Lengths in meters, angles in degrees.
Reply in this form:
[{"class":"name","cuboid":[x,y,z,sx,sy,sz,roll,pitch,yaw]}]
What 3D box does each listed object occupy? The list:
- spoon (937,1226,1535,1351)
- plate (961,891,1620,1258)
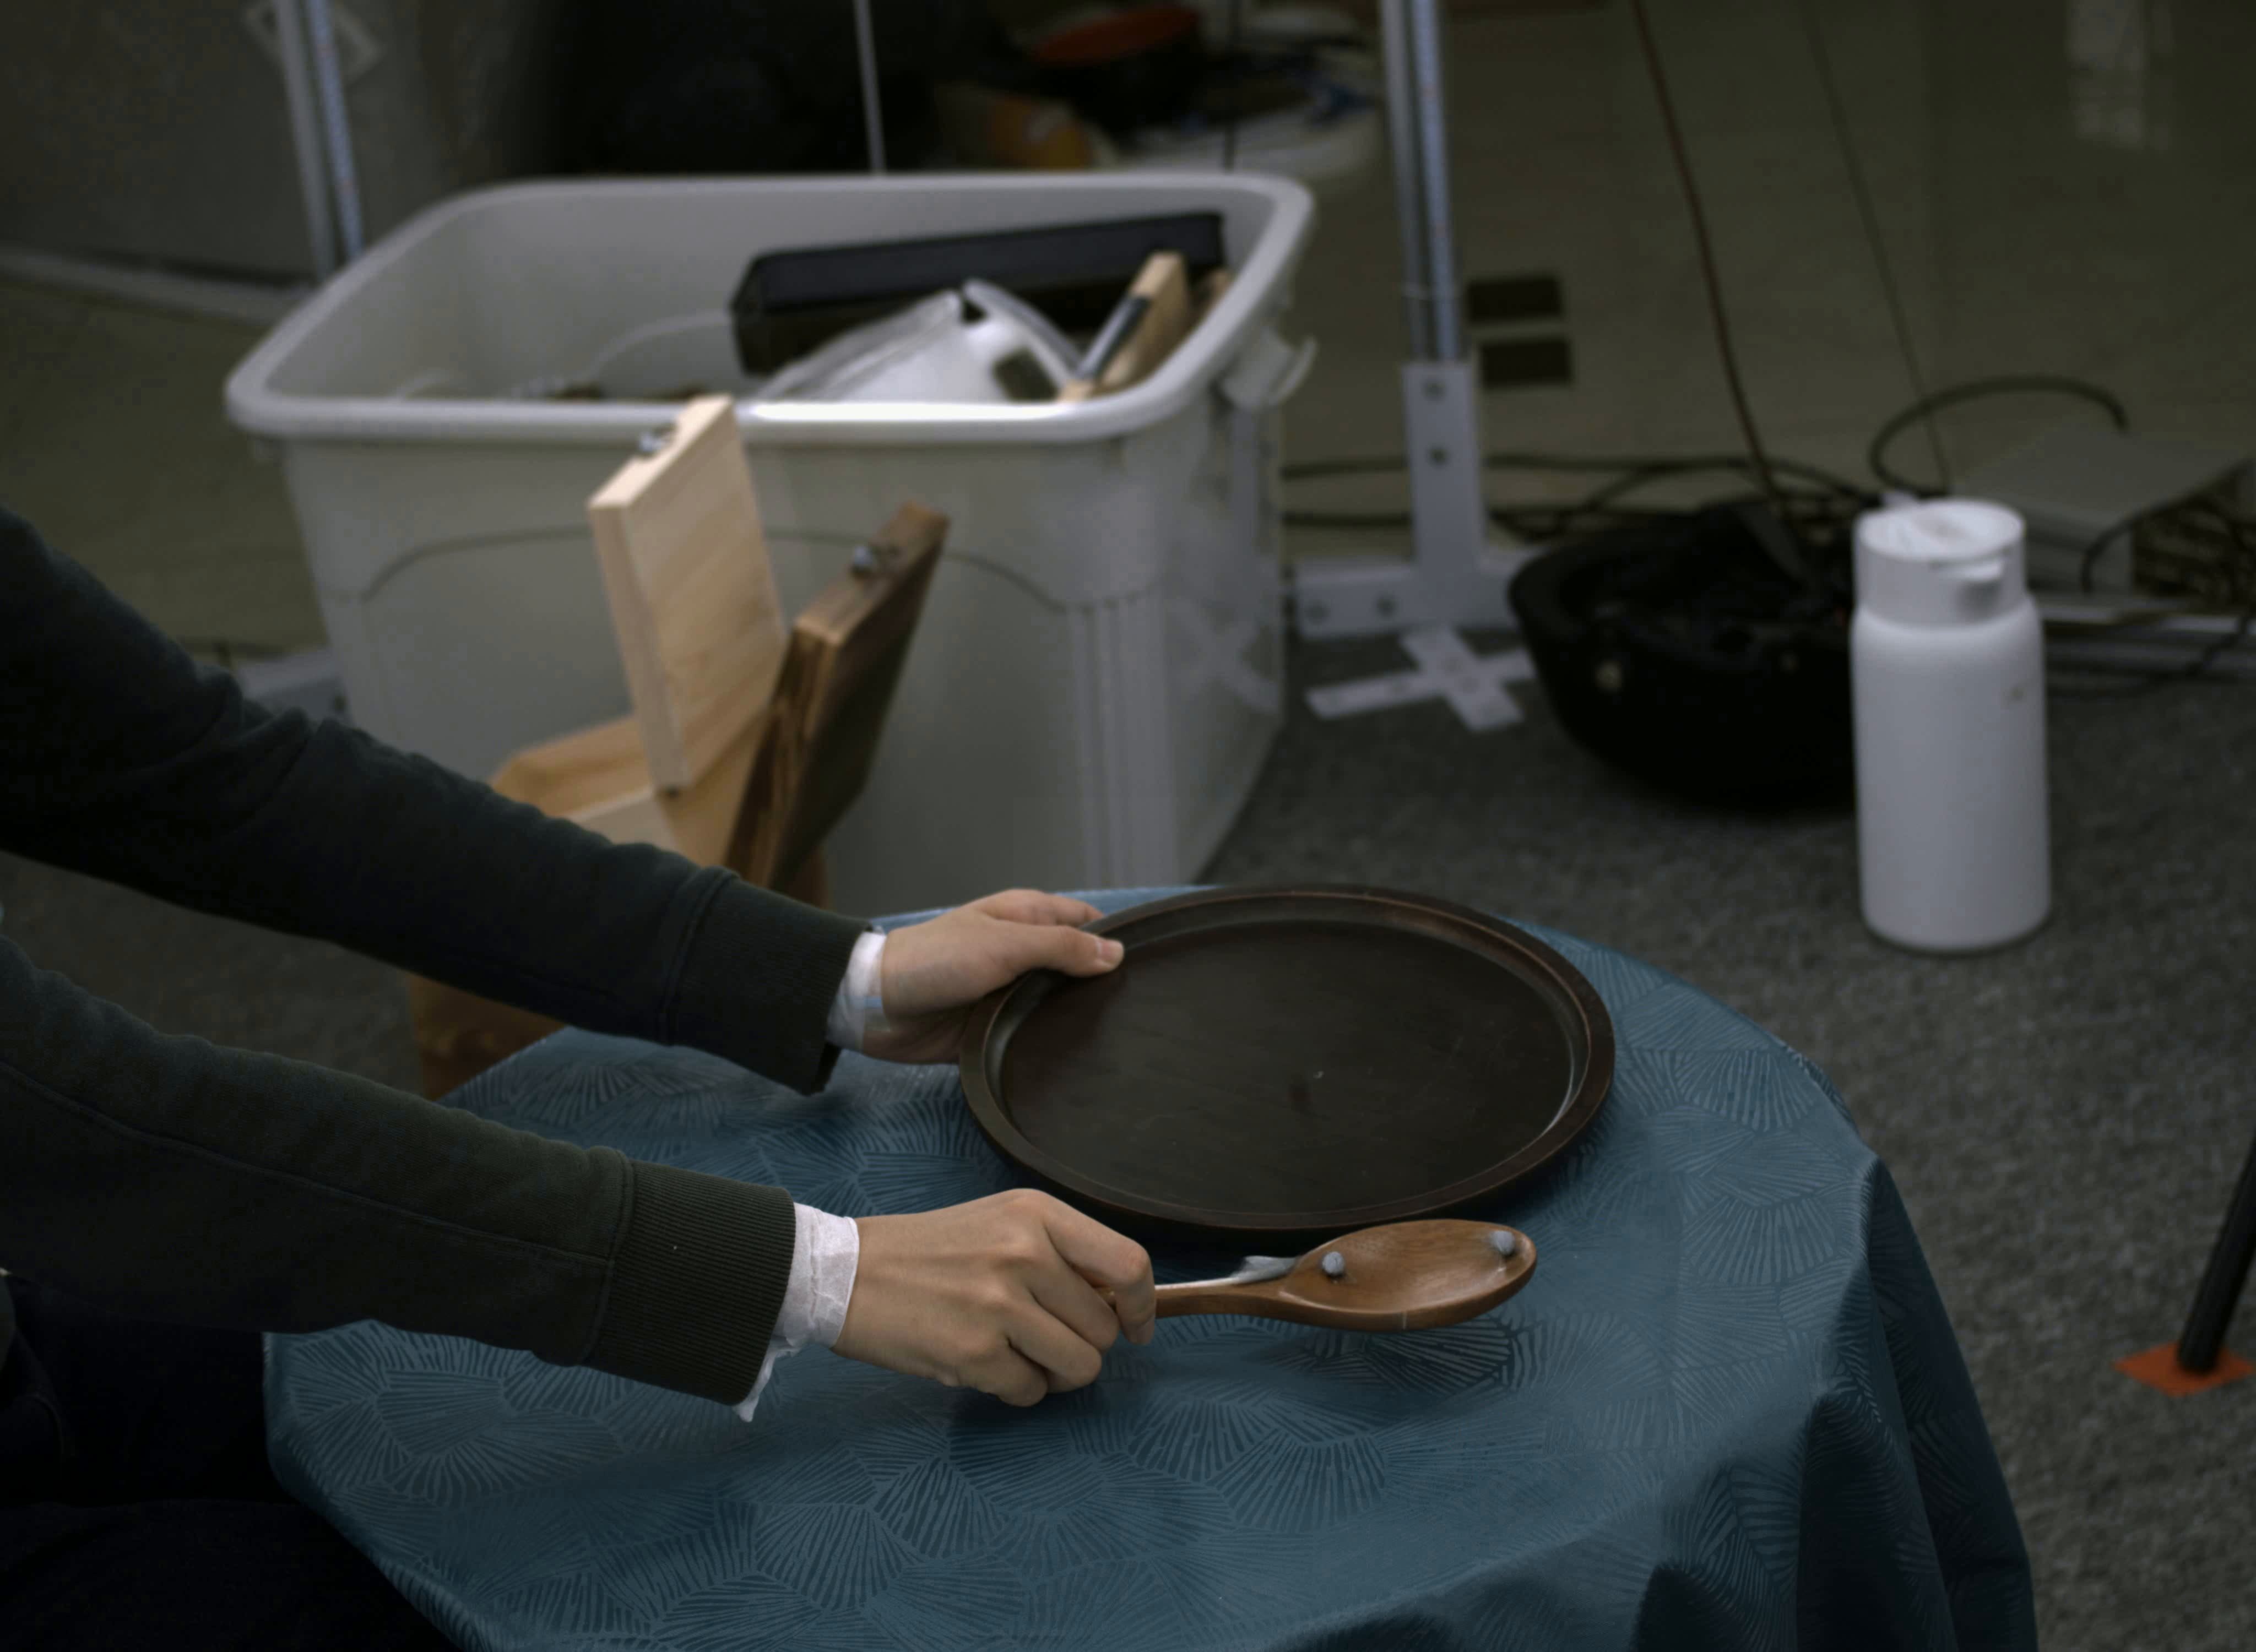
[{"class":"spoon","cuboid":[0.038,0.170,2.018,0.215,0.017,0.074,-5,22,9]},{"class":"plate","cuboid":[0.062,0.094,2.179,0.254,0.029,0.250,-1,29,1]}]
